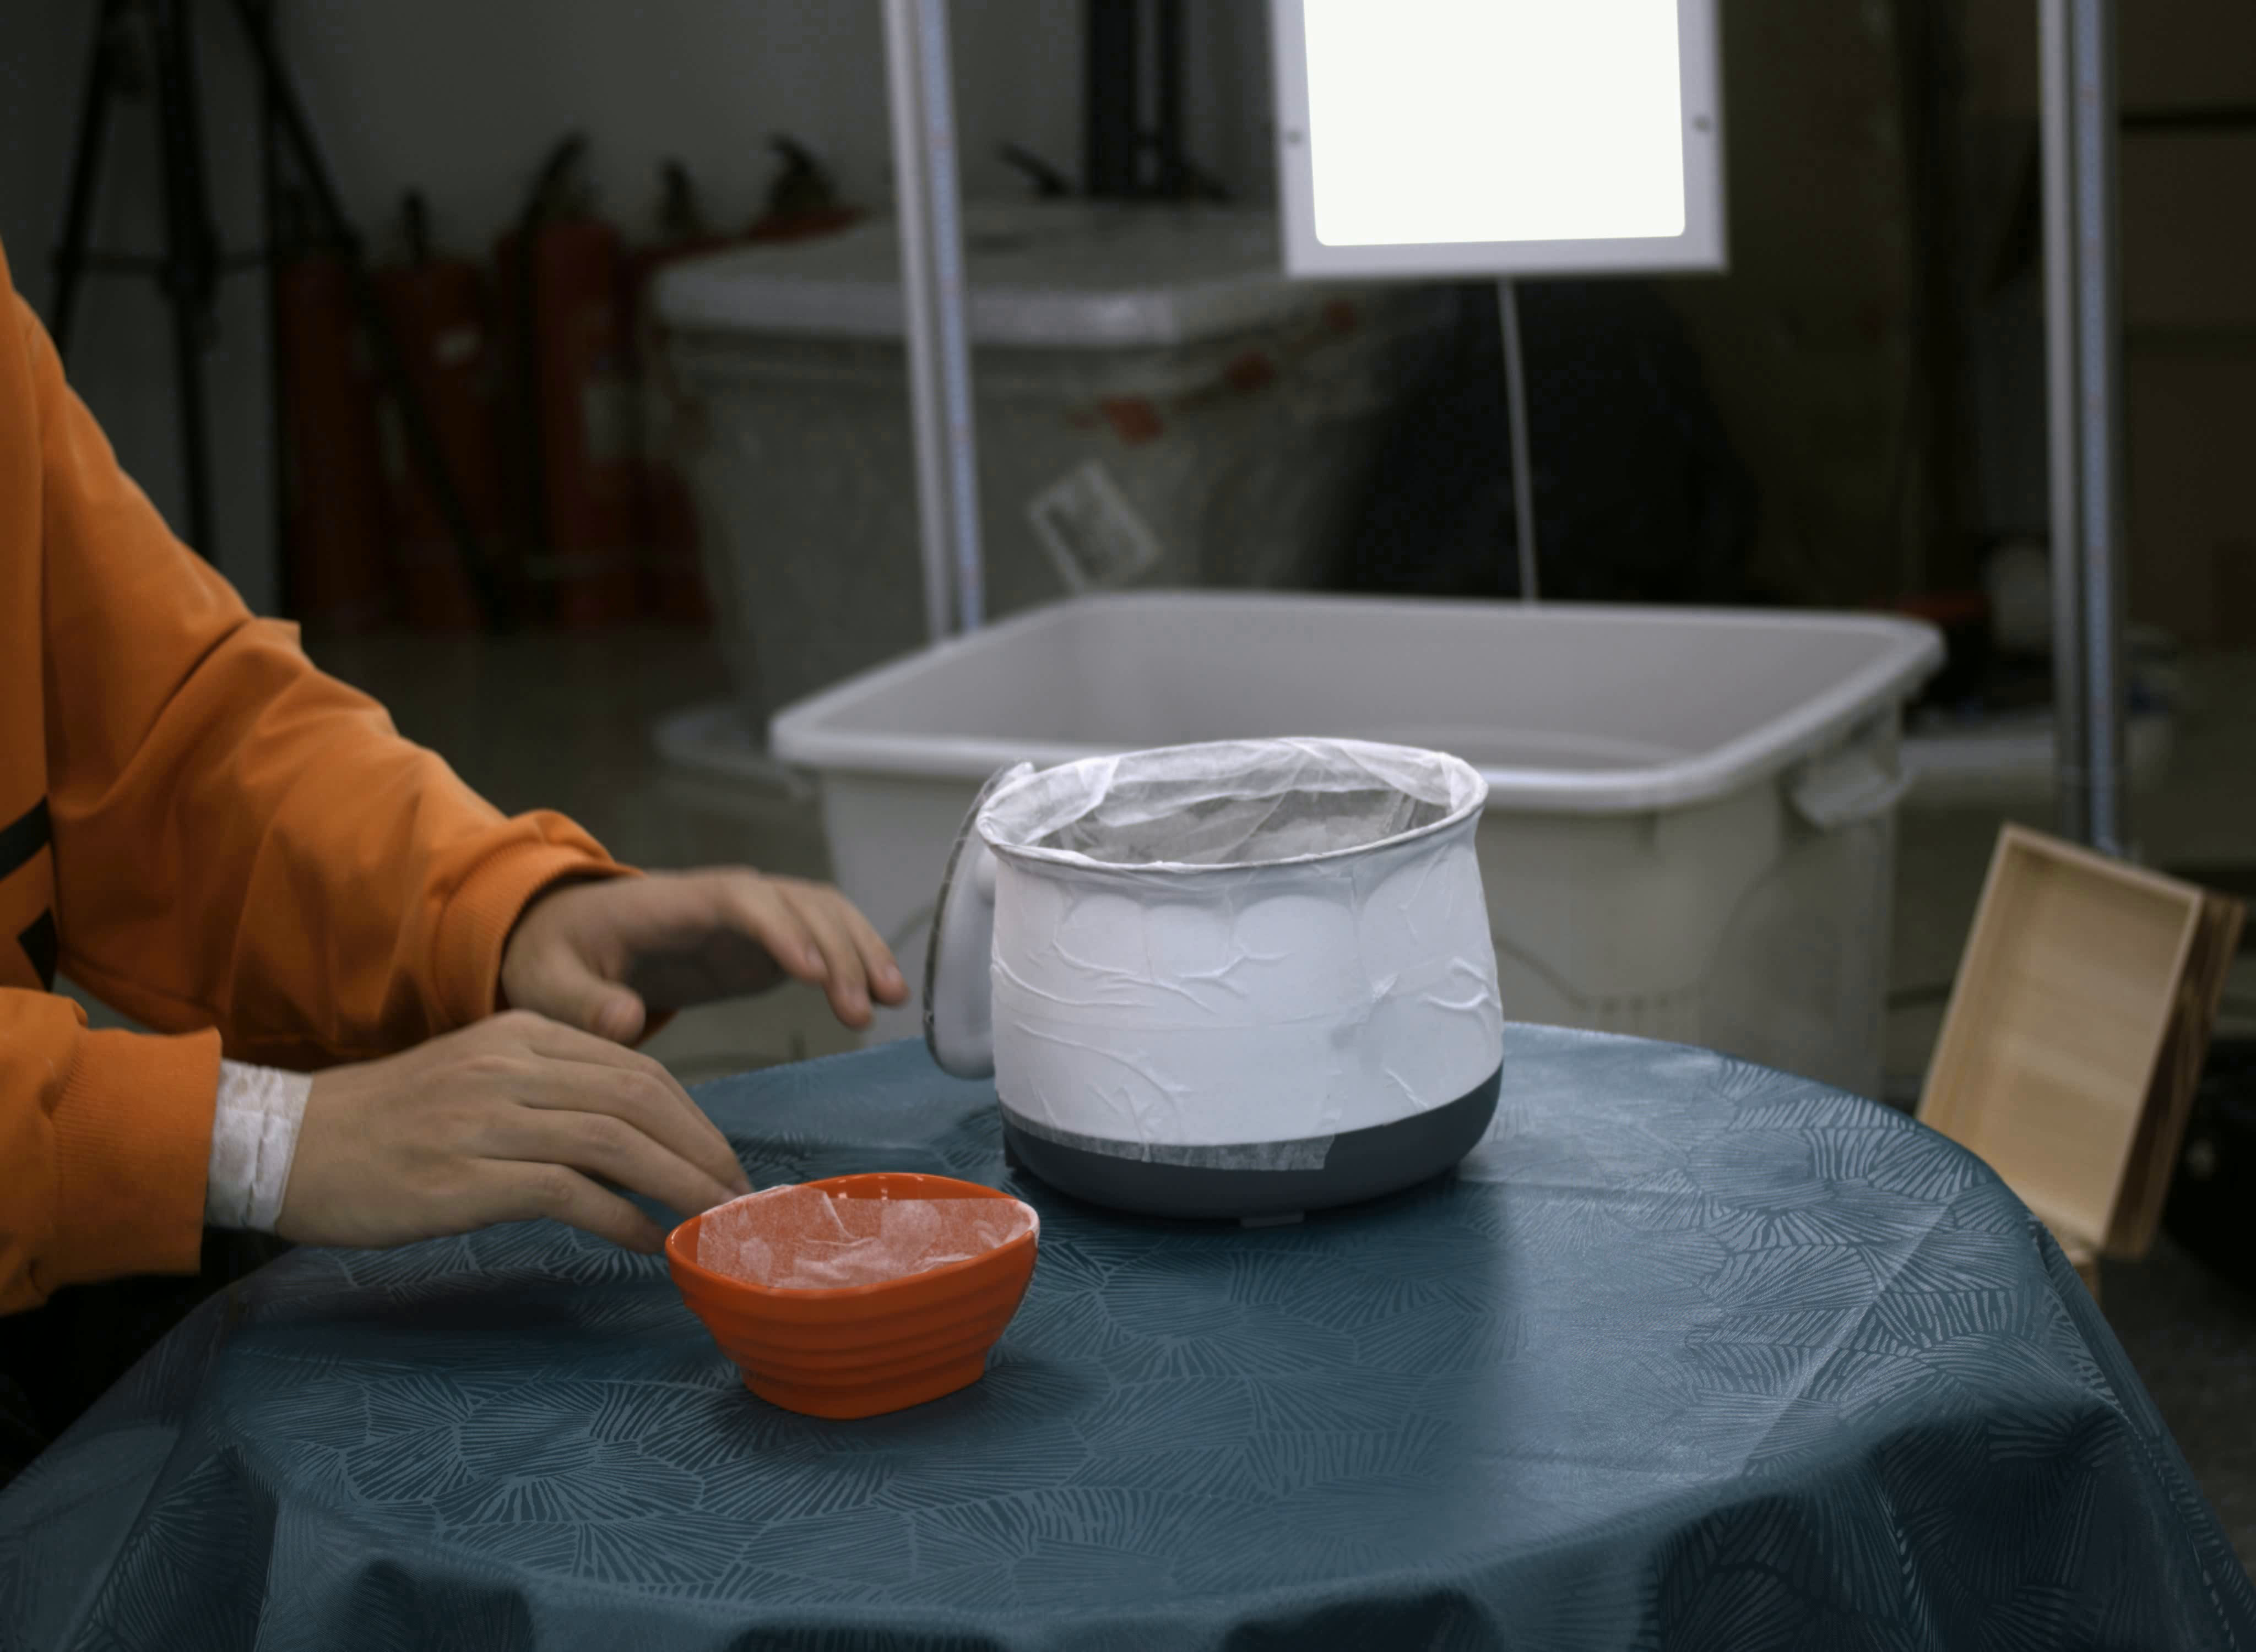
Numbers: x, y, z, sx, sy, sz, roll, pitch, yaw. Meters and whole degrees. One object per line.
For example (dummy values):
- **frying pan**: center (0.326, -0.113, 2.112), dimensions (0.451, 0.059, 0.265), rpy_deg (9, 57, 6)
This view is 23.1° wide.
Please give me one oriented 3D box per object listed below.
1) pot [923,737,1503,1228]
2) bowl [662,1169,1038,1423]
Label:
- **pot**: center (0.019, 0.049, 1.915), dimensions (0.239, 0.137, 0.174), rpy_deg (8, 18, 40)
- **bowl**: center (-0.085, 0.149, 1.728), dimensions (0.118, 0.051, 0.119), rpy_deg (-5, 15, 0)
